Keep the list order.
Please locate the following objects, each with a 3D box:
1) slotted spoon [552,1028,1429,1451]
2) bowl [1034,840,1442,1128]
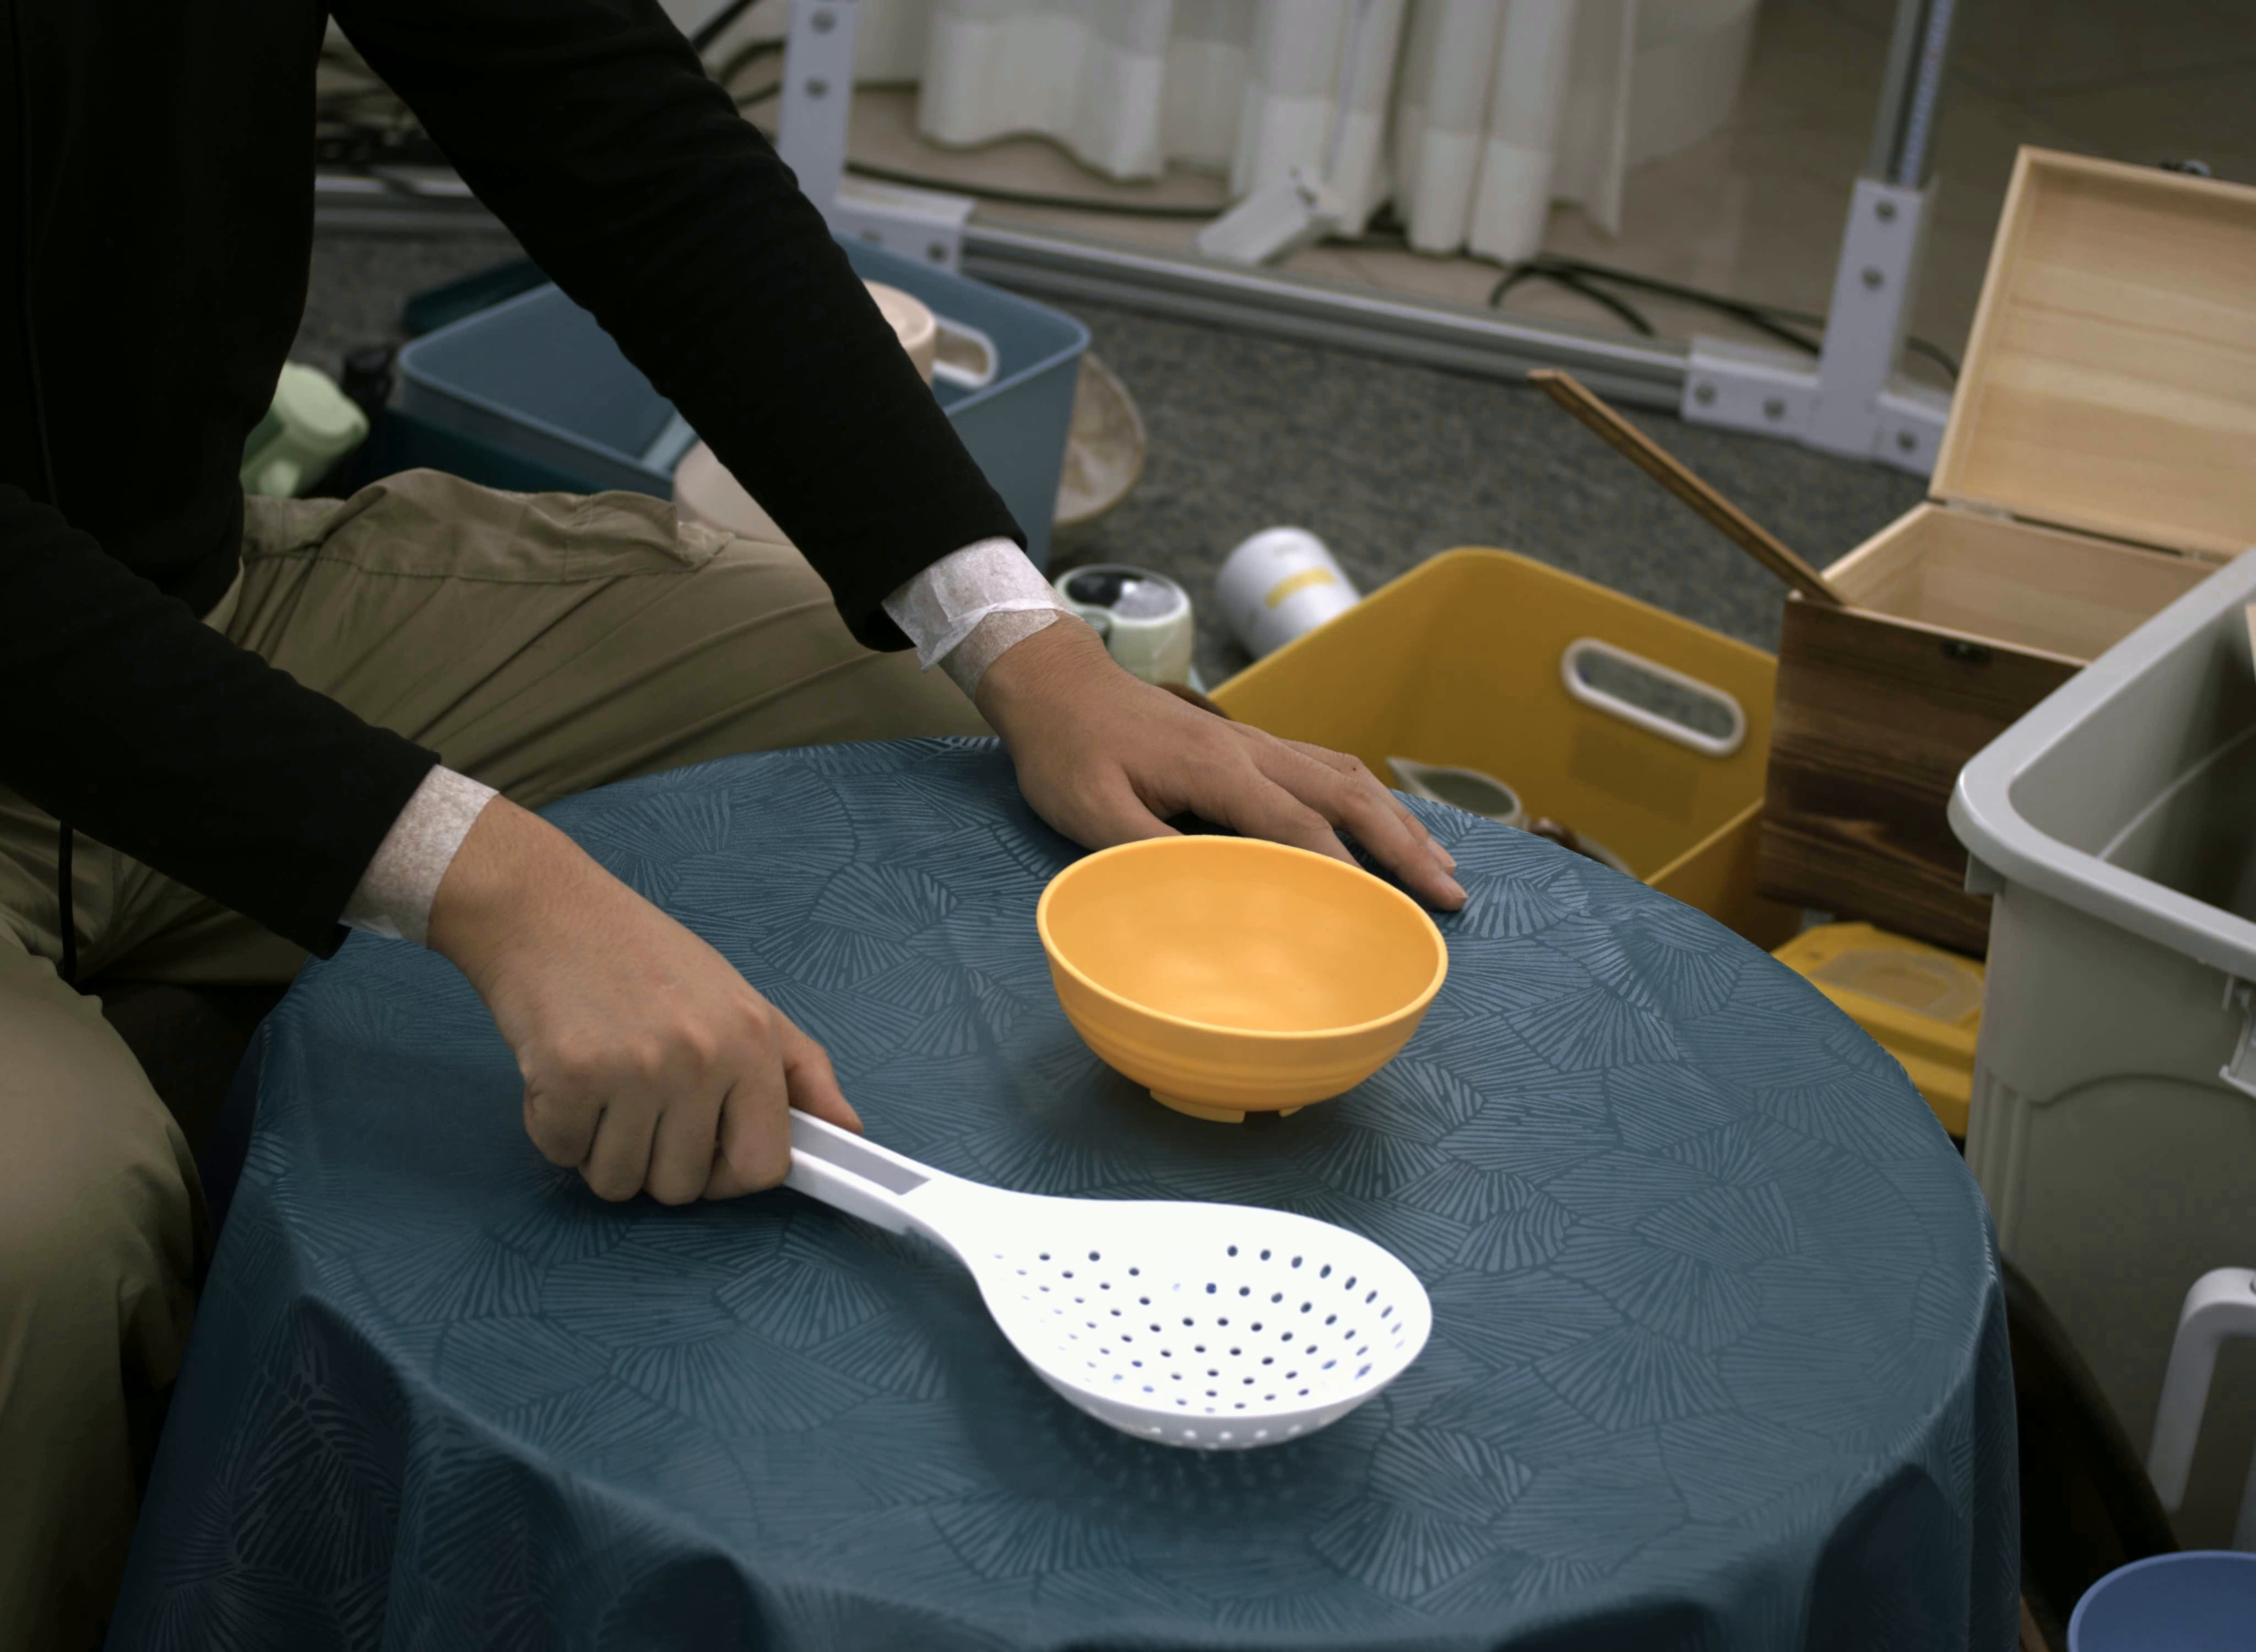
[{"bbox_3d":[-0.057,0.127,1.731,0.352,0.045,0.135,24,33,33],"label":"slotted spoon"},{"bbox_3d":[0.035,0.064,1.866,0.145,0.060,0.146,7,26,-4],"label":"bowl"}]
